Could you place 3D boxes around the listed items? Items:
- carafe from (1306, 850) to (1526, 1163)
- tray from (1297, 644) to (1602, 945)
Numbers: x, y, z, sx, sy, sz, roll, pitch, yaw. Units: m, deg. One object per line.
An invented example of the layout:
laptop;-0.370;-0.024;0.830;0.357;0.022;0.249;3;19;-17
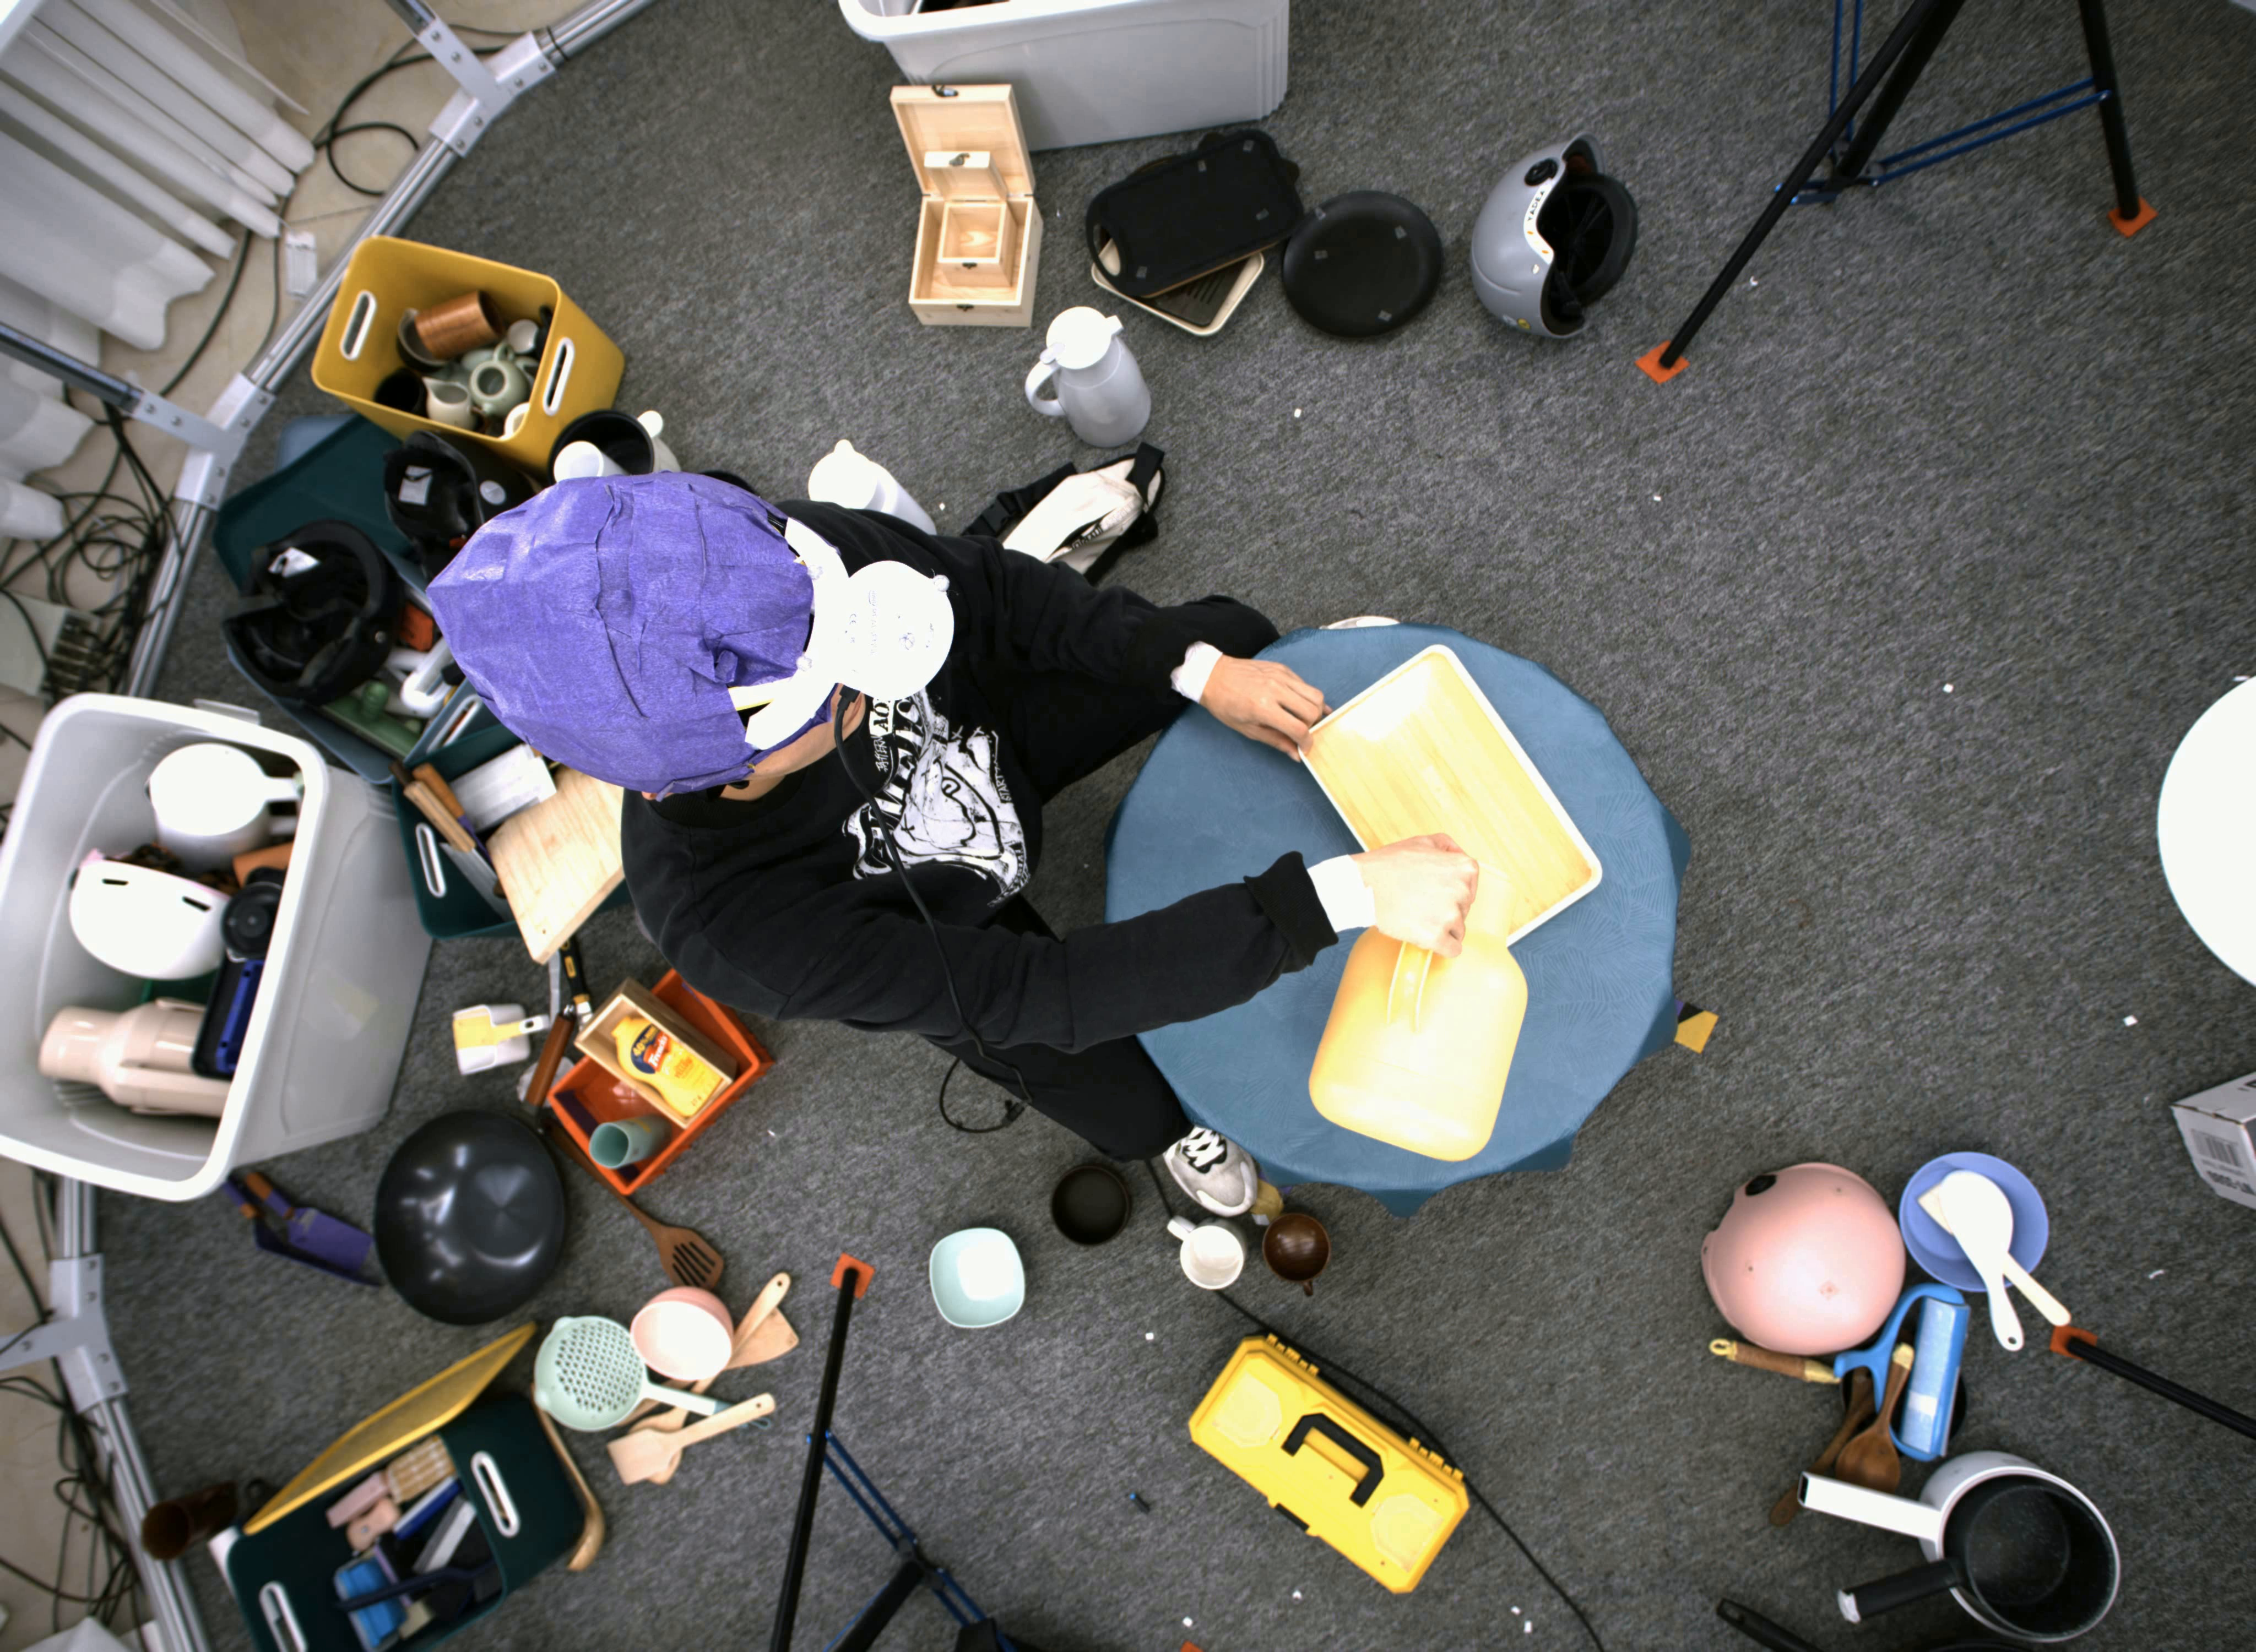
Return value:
carafe;0.256;0.147;1.202;0.164;0.204;0.258;14;79;29
tray;0.330;-0.019;1.419;0.192;0.027;0.300;-34;90;6
